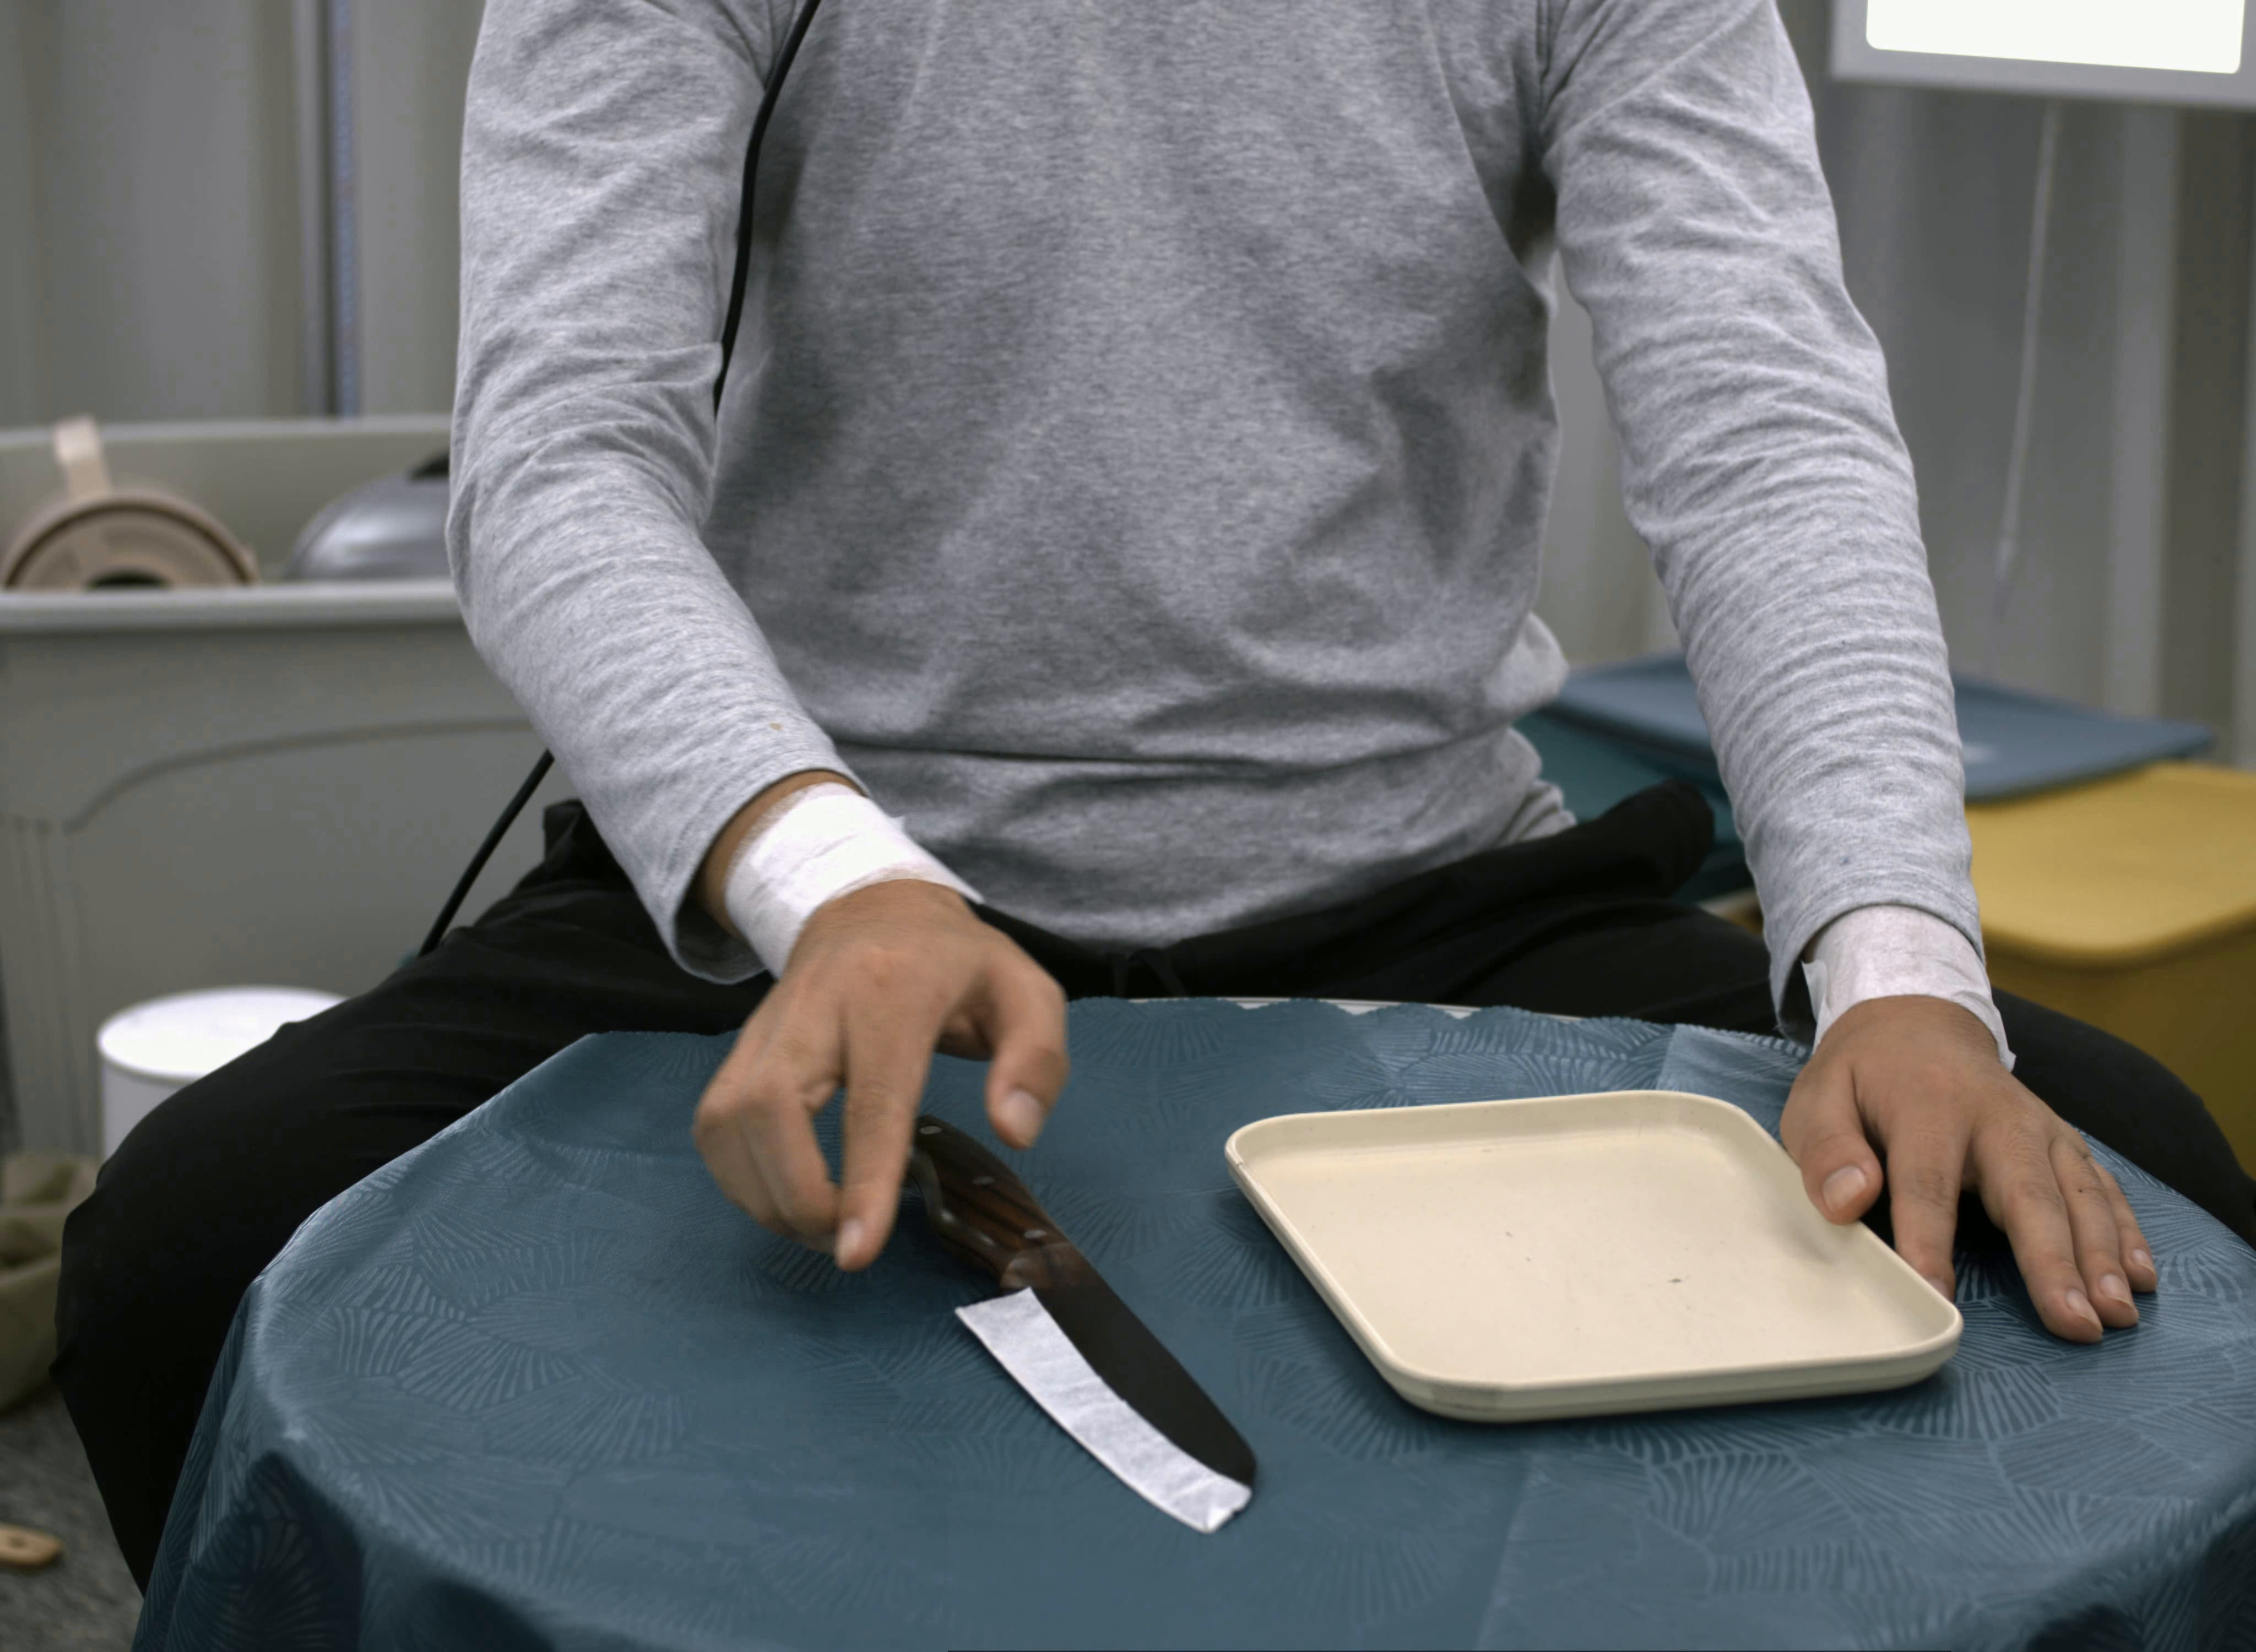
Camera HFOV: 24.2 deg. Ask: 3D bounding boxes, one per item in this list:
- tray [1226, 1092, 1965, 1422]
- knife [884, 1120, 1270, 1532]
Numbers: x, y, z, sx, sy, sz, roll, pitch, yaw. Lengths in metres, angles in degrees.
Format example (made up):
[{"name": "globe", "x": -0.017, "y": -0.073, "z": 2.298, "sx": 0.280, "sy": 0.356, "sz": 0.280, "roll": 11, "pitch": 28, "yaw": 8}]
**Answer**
[{"name": "tray", "x": 0.132, "y": 0.125, "z": 1.551, "sx": 0.171, "sy": 0.017, "sz": 0.237, "roll": -3, "pitch": 15, "yaw": -13}, {"name": "knife", "x": -0.019, "y": 0.140, "z": 1.495, "sx": 0.050, "sy": 0.020, "sz": 0.286, "roll": -11, "pitch": 20, "yaw": -16}]
